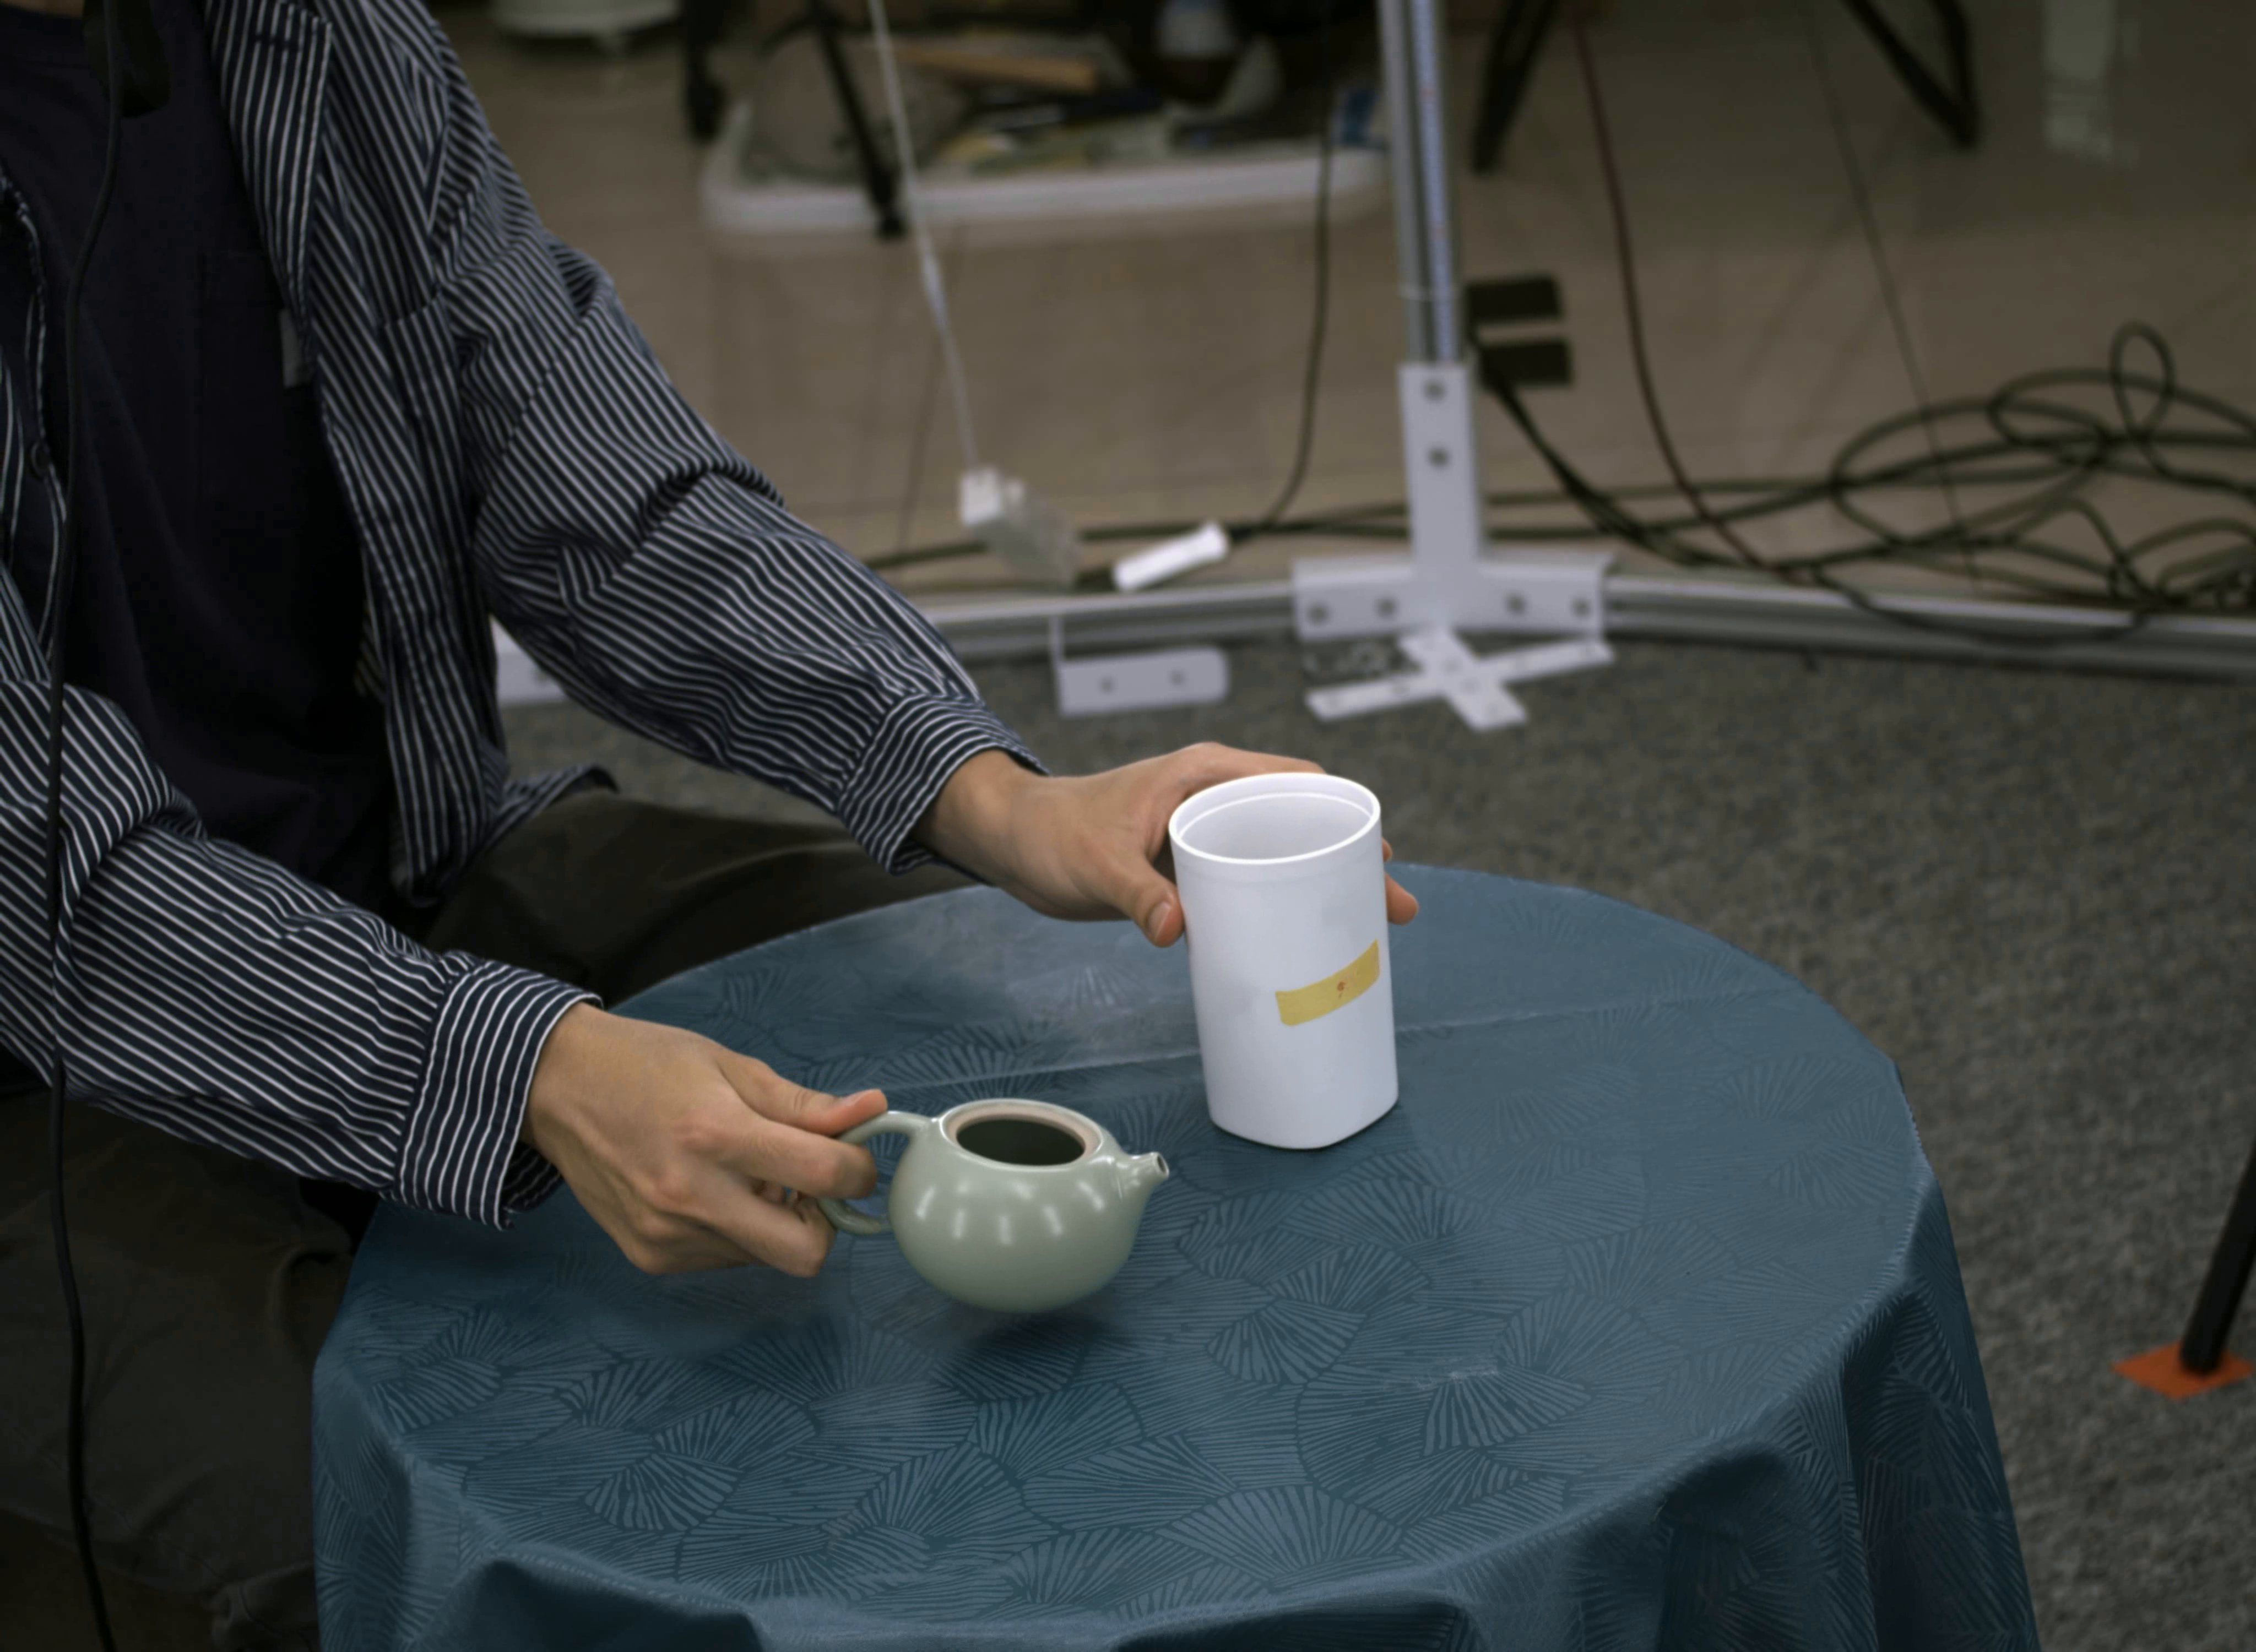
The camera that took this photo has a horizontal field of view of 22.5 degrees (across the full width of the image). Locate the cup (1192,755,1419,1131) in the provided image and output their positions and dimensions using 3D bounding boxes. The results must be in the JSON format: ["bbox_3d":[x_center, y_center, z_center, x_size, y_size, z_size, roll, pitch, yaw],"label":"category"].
[{"bbox_3d":[0.071,0.046,2.175,0.081,0.127,0.080,-5,26,3],"label":"cup"}]

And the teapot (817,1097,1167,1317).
[{"bbox_3d":[-0.051,0.137,2.057,0.128,0.062,0.090,12,25,10],"label":"teapot"}]
